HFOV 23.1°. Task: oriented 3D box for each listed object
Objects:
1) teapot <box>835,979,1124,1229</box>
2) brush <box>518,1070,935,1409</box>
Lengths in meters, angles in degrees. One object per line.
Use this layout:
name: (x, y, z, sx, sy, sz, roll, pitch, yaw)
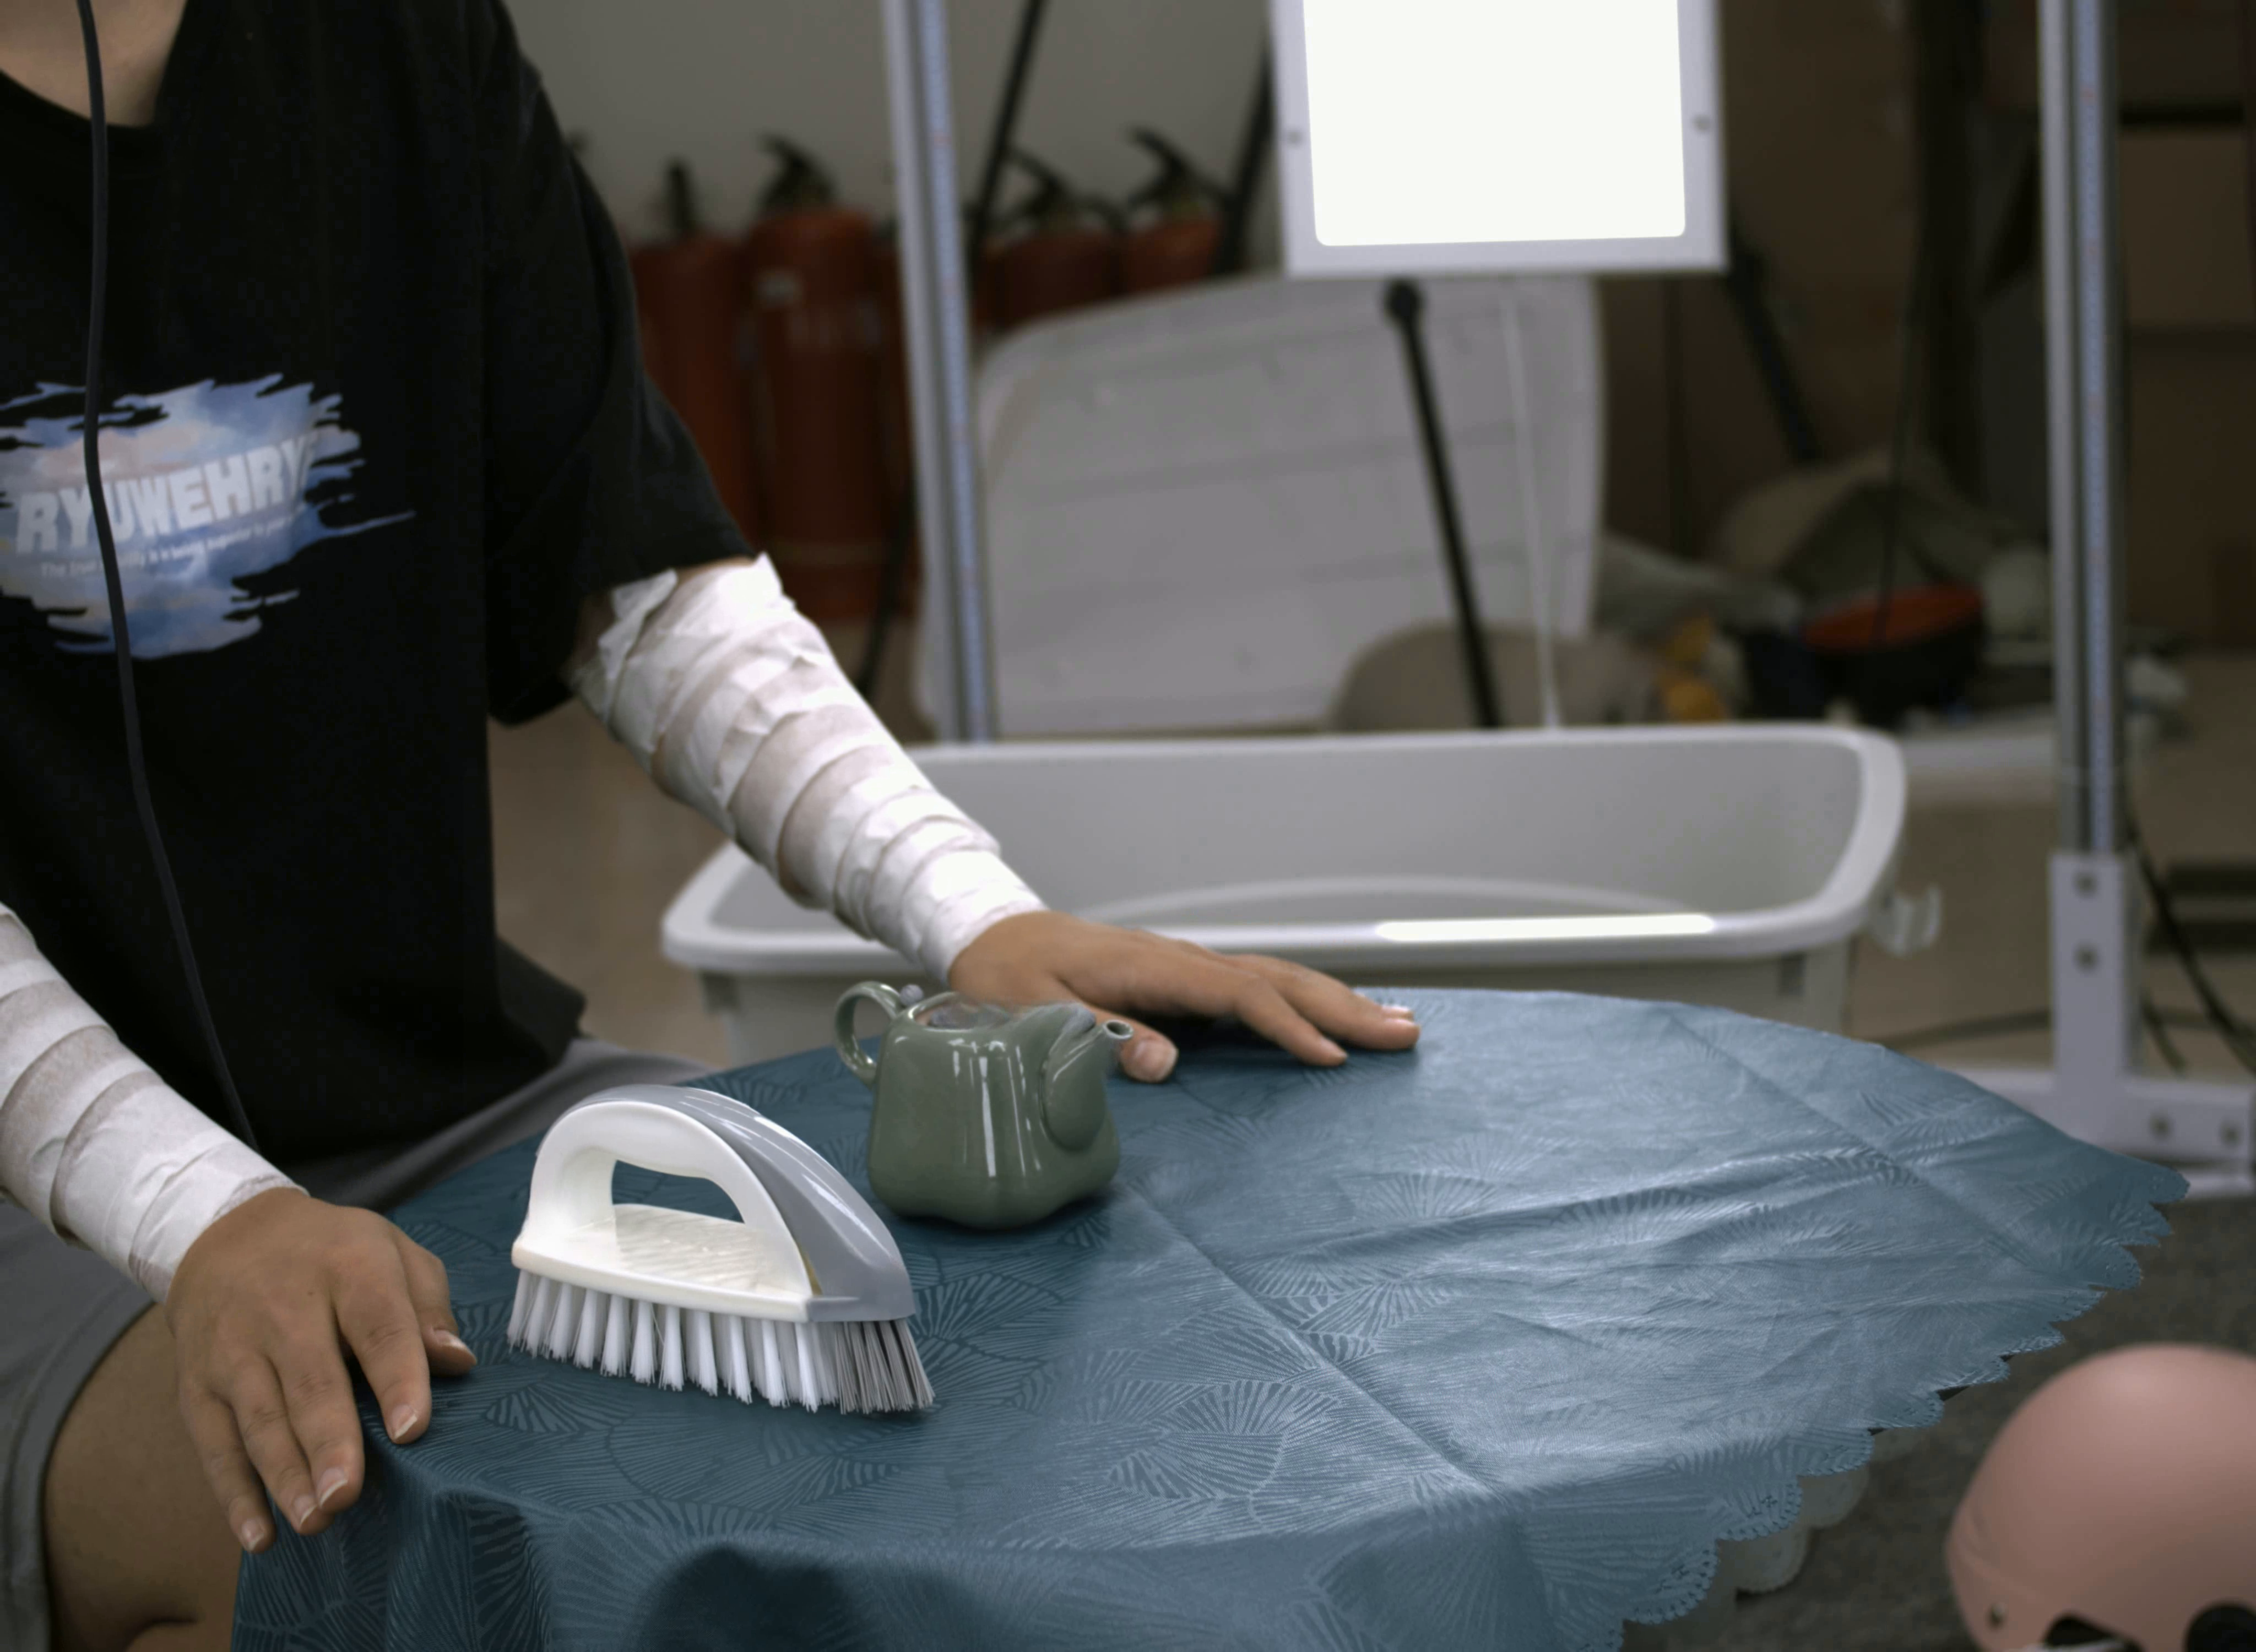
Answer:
teapot: (-0.049, 0.095, 1.895, 0.135, 0.075, 0.077, 6, 15, 43)
brush: (-0.126, 0.128, 1.746, 0.060, 0.094, 0.179, -20, 21, -40)
